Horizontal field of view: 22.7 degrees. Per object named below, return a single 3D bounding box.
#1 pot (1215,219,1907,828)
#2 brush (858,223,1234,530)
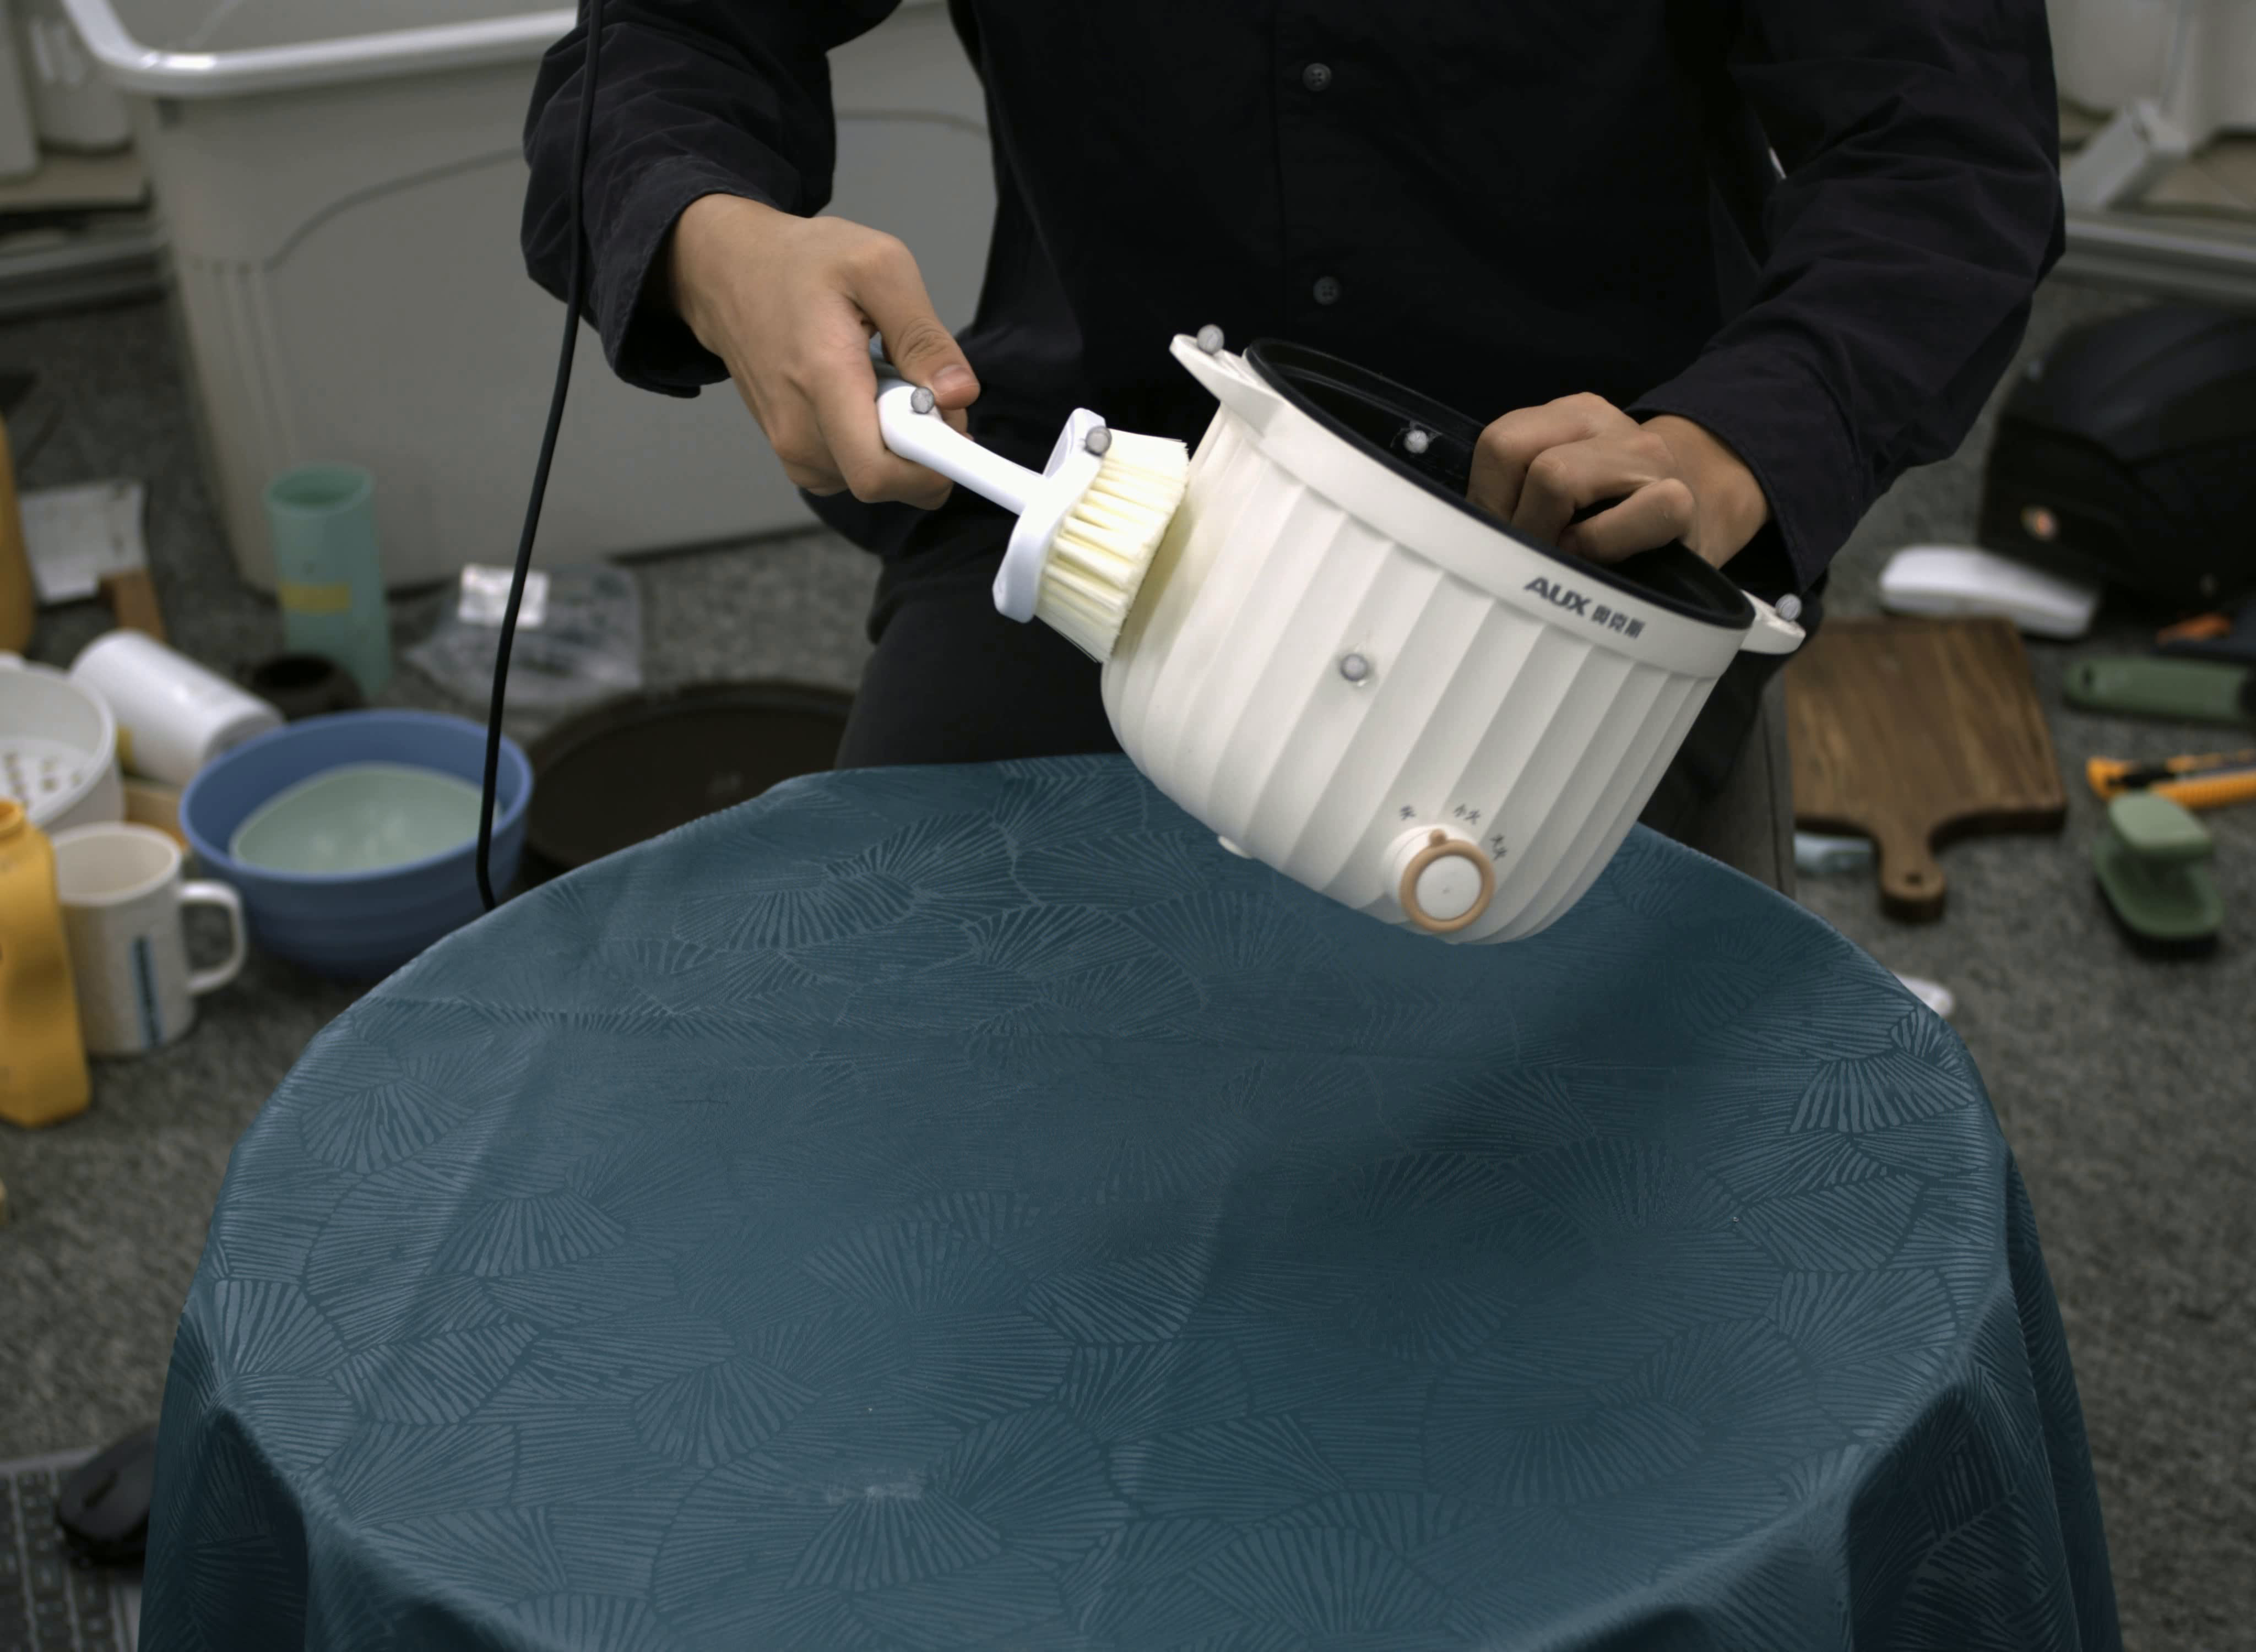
[{"bbox_3d":[0.126,-0.087,1.793,0.239,0.142,0.191,21,11,-25],"label":"pot"},{"bbox_3d":[-0.015,-0.159,1.891,0.083,0.084,0.327,-31,19,-4],"label":"brush"}]
